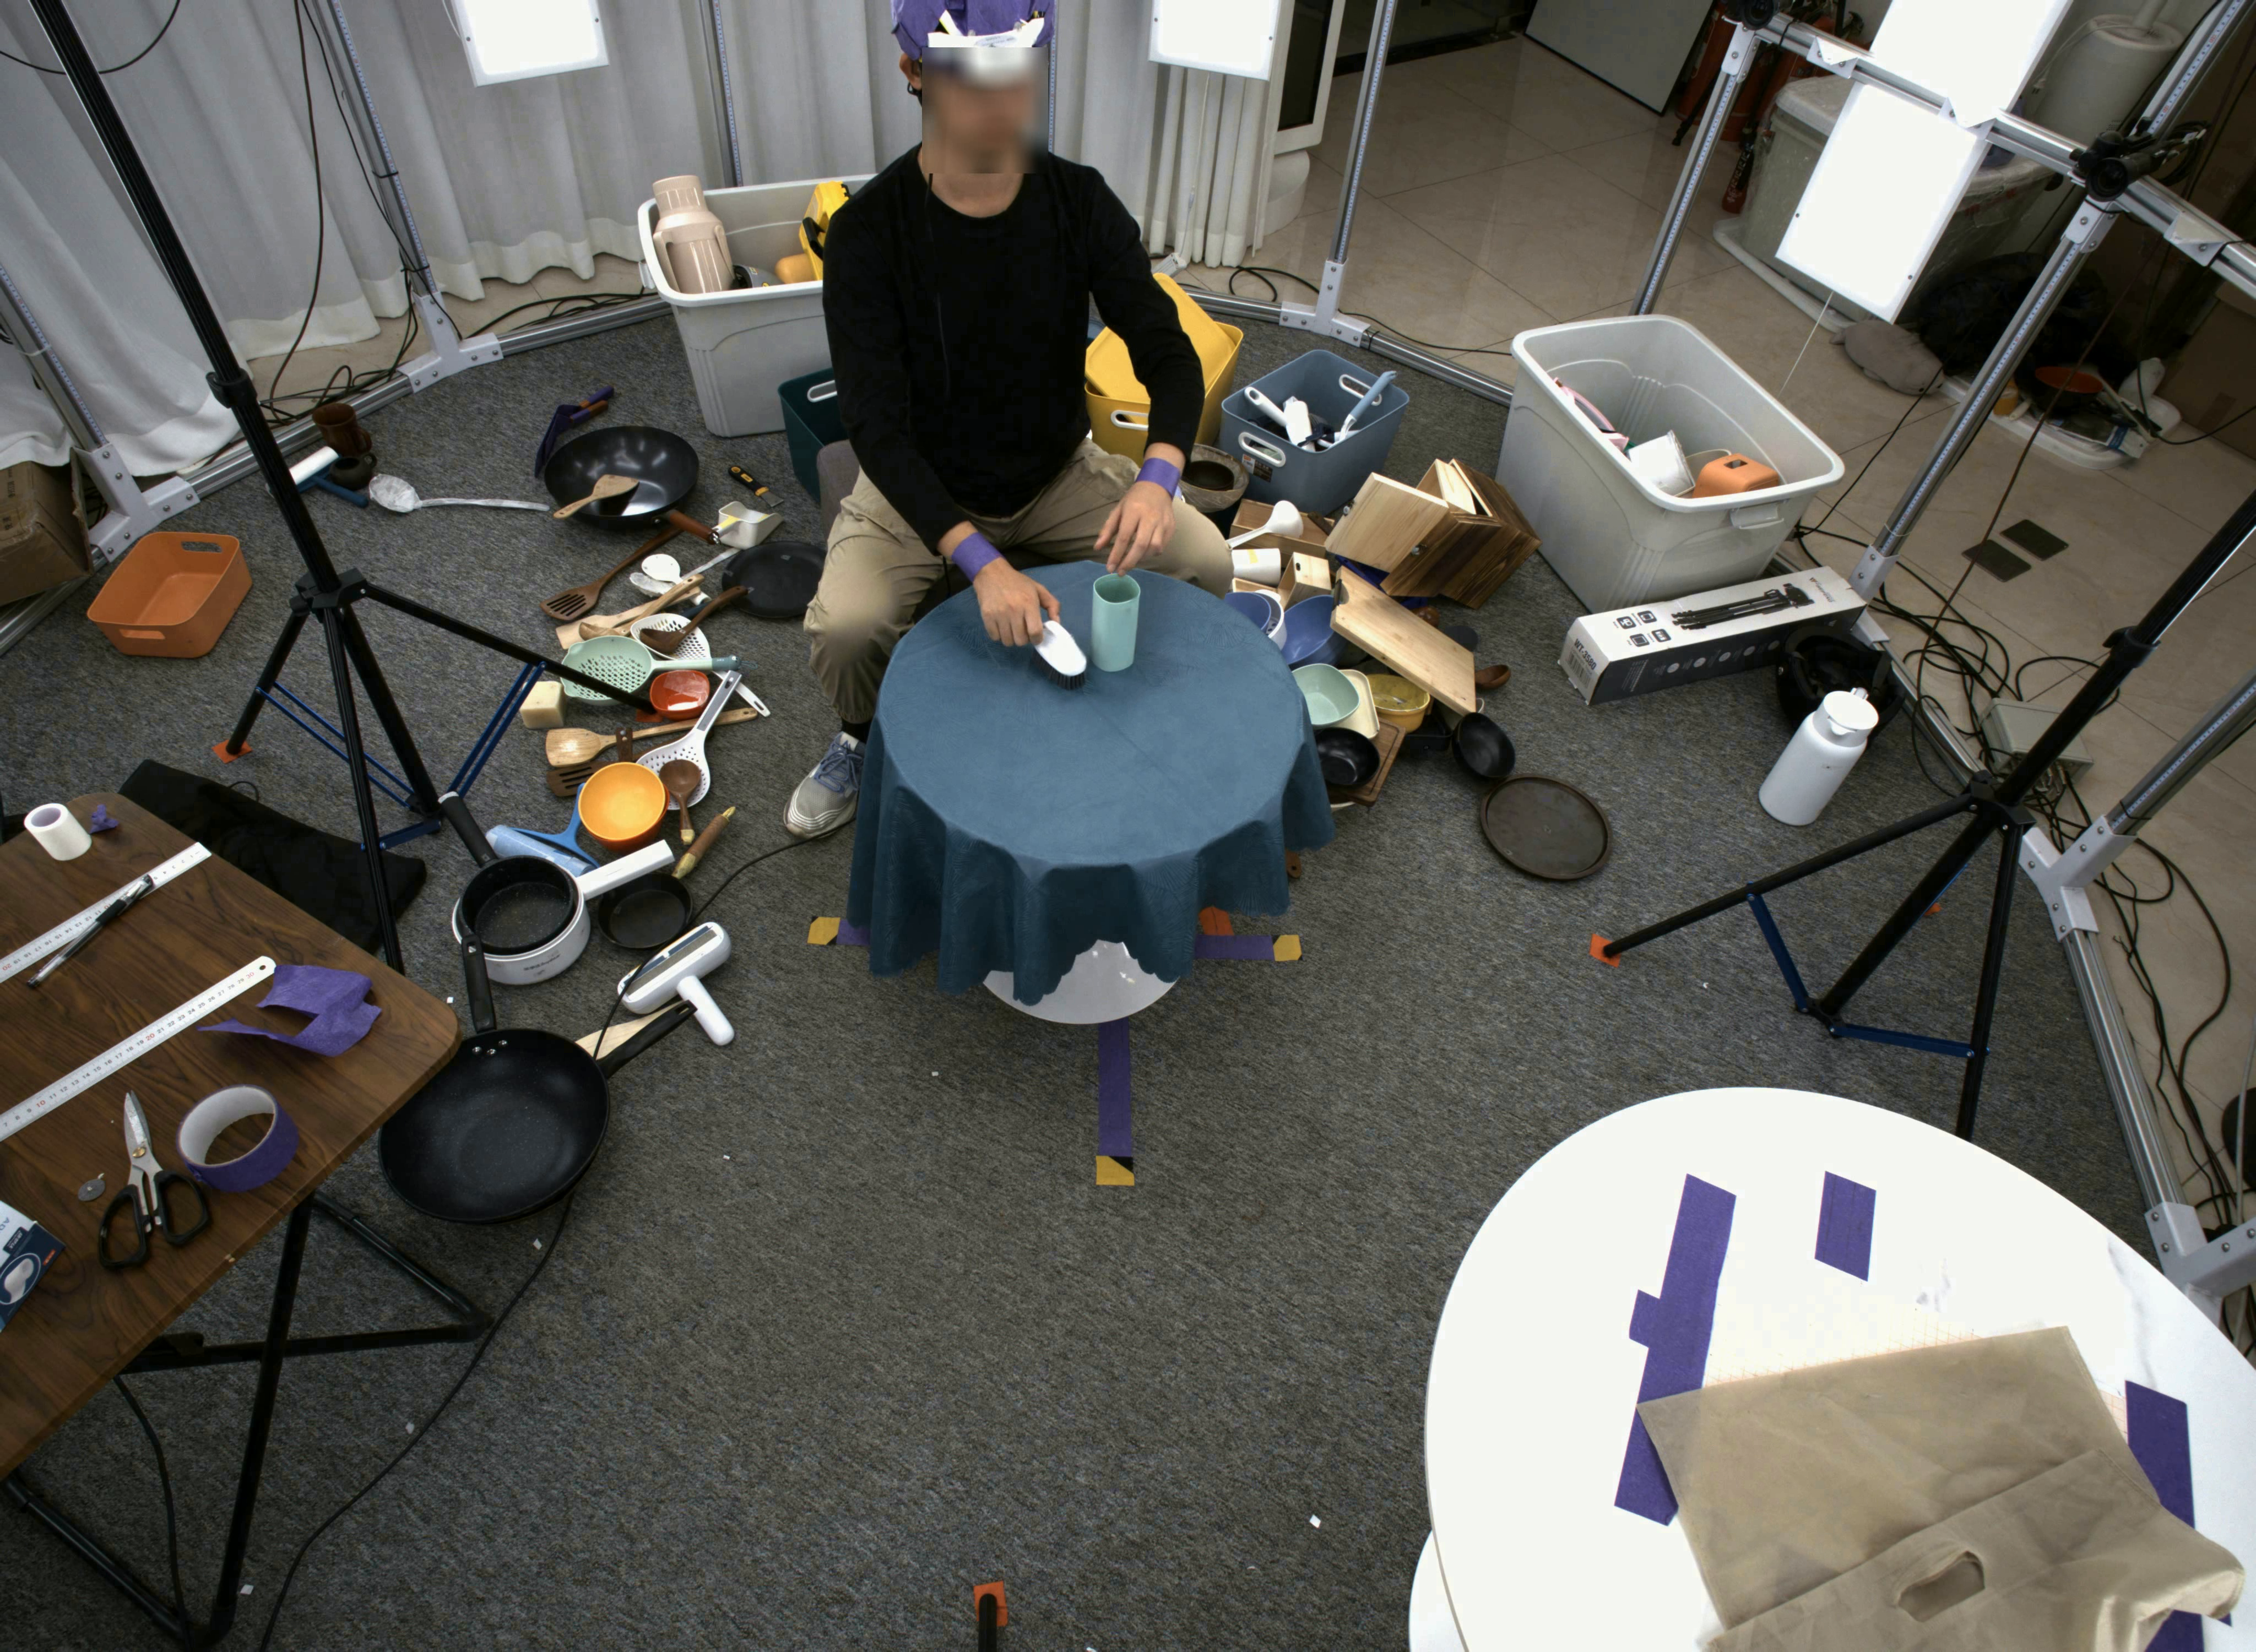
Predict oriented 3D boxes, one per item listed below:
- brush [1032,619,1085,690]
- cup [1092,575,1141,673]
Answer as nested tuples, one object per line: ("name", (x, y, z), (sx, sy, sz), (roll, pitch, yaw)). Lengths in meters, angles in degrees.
("brush", (-0.098, -0.252, 1.829), (0.050, 0.071, 0.101), (-26, 57, -26))
("cup", (-0.019, -0.287, 1.835), (0.066, 0.129, 0.068), (2, 50, -3))
